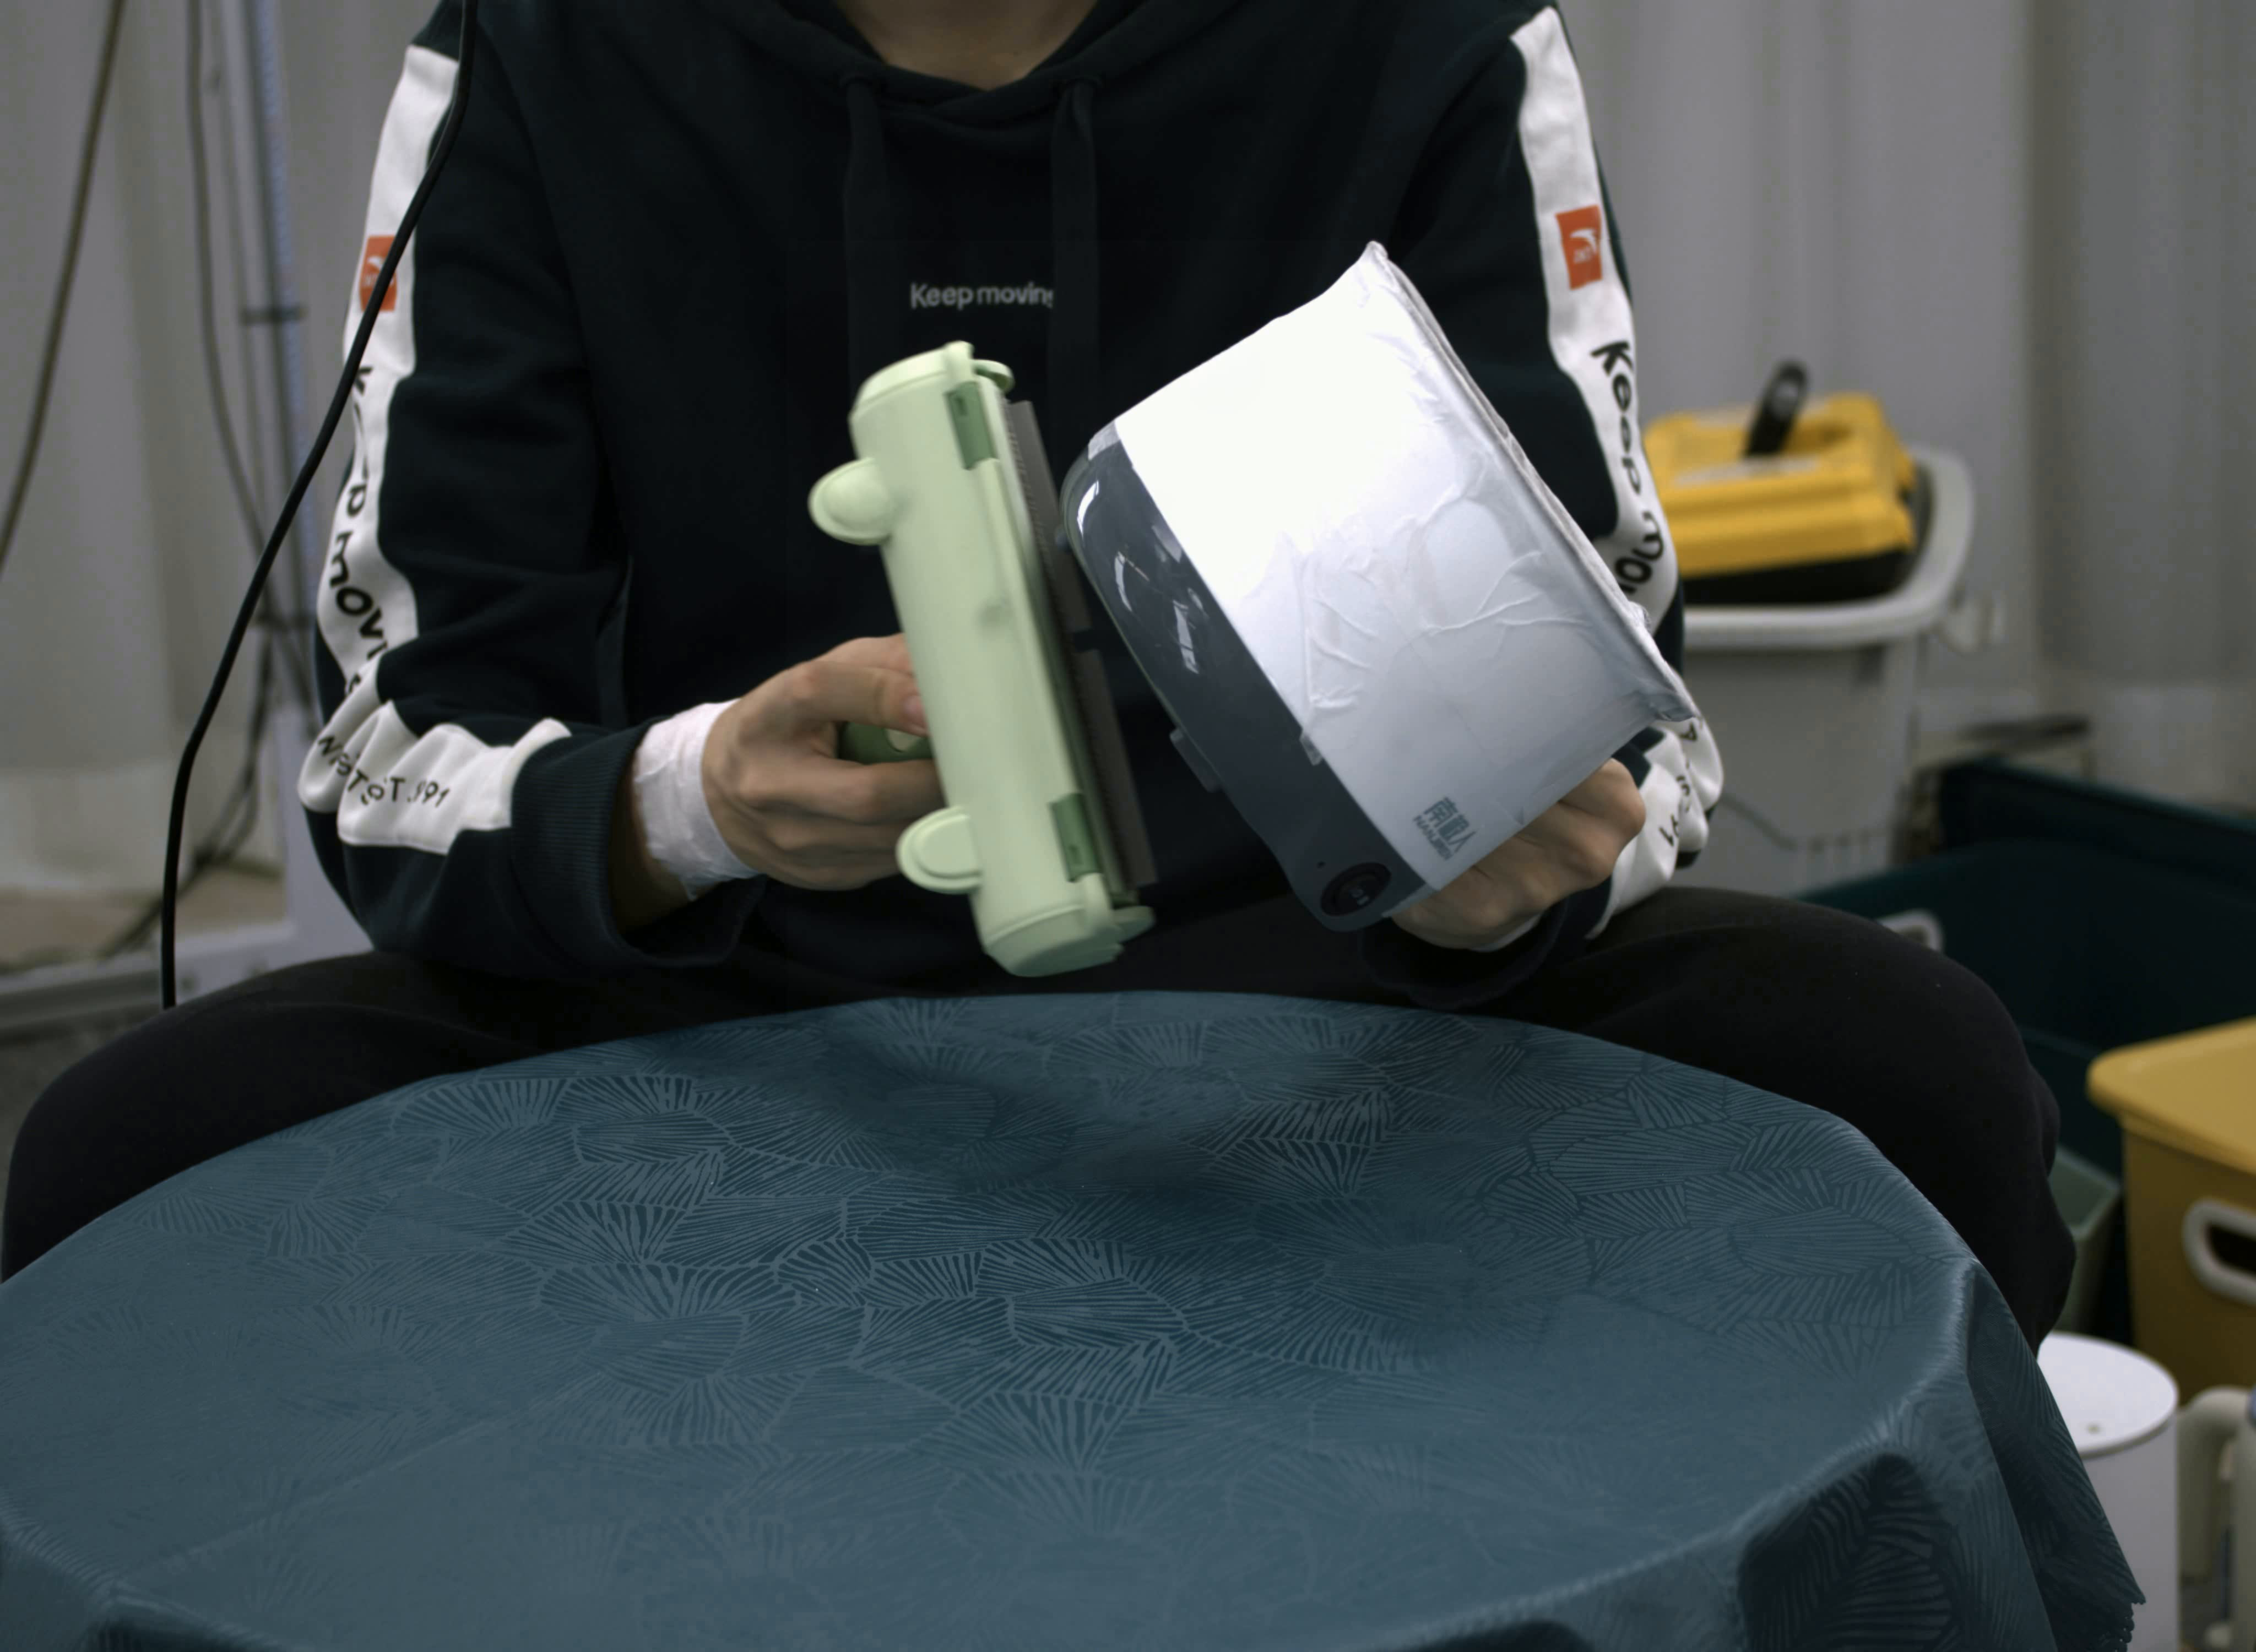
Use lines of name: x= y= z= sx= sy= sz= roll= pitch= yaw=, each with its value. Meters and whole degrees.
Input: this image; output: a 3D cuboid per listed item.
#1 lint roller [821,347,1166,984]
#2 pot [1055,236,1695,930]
lint roller: x=-0.072 y=-0.032 z=1.757 sx=0.082 sy=0.200 sz=0.182 roll=-6 pitch=-16 yaw=-36
pot: x=0.084 y=-0.061 z=1.707 sx=0.136 sy=0.231 sz=0.181 roll=-34 pitch=56 yaw=8
